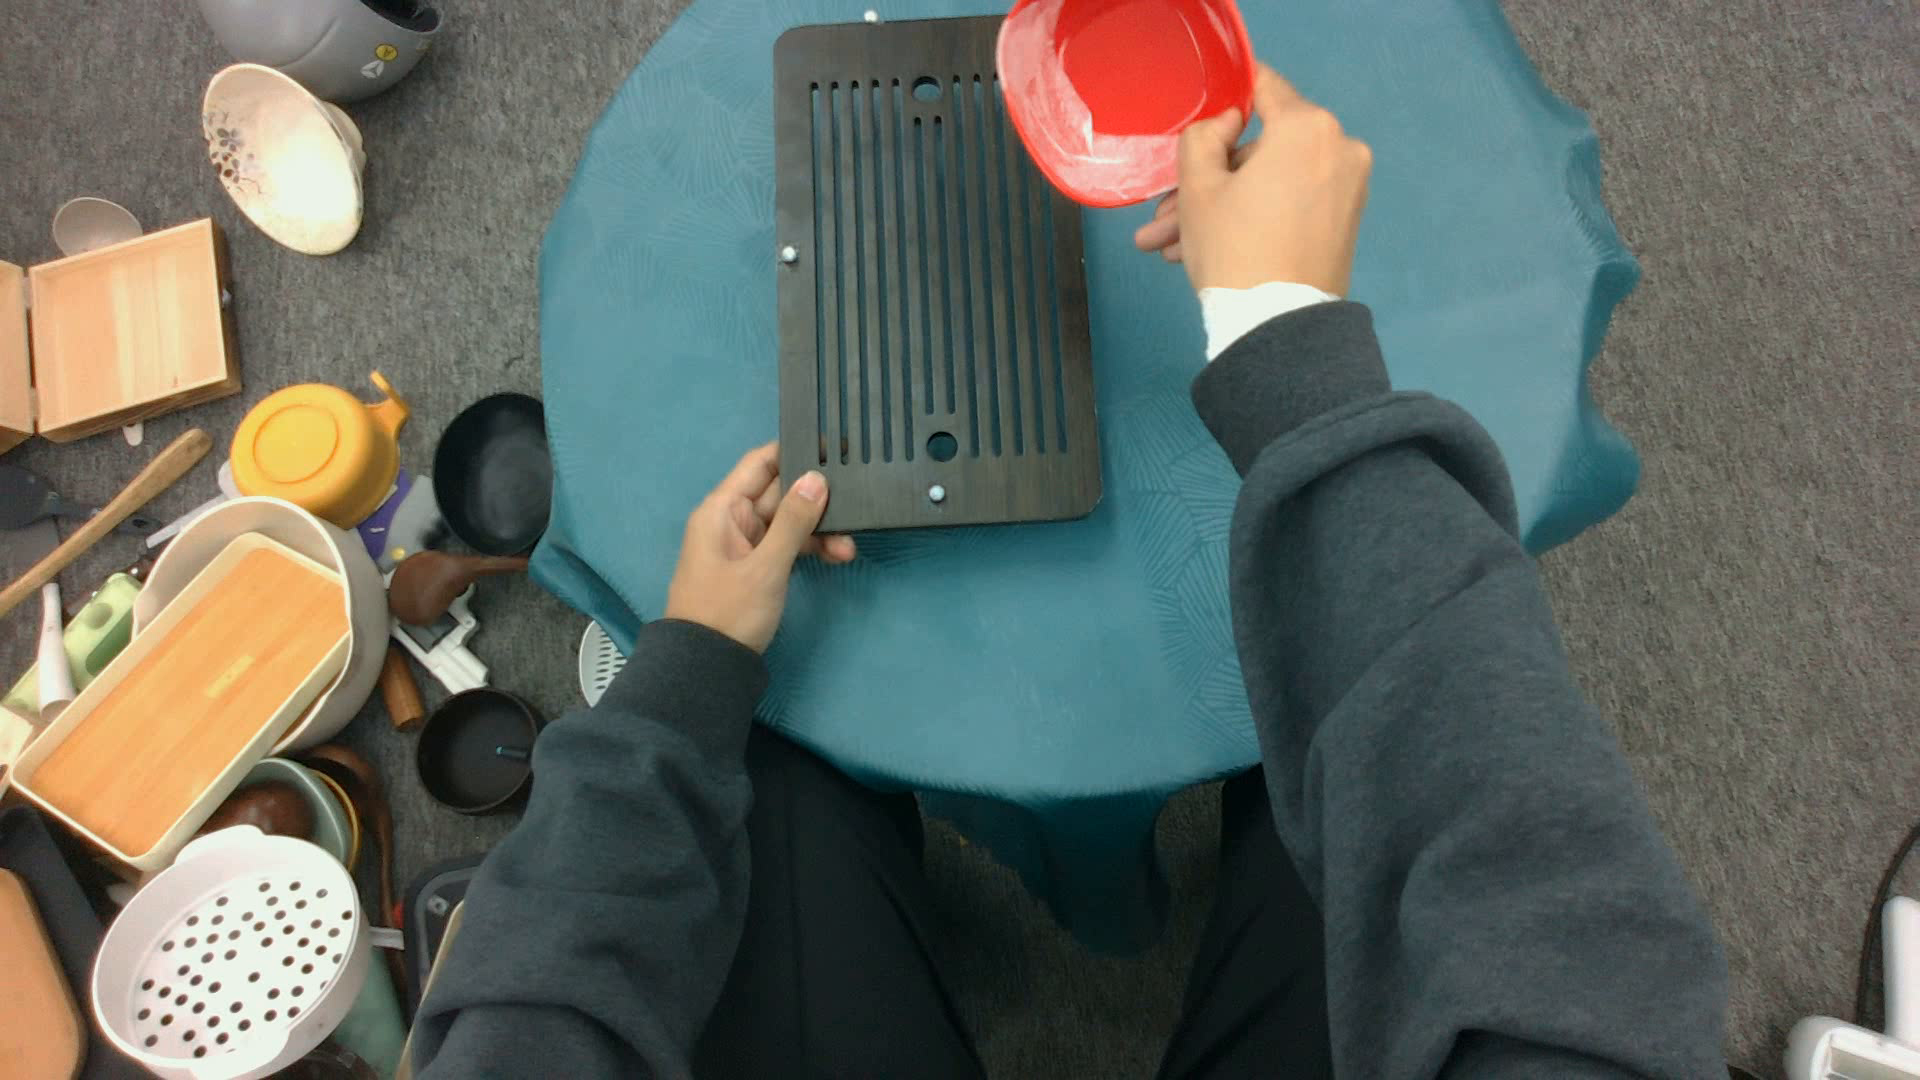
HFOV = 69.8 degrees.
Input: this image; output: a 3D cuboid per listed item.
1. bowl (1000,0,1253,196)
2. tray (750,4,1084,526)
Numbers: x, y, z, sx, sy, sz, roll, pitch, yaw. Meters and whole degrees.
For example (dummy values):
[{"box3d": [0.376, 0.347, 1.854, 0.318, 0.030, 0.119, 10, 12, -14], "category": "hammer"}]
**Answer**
[{"box3d": [0.078, -0.220, 0.651, 0.119, 0.051, 0.118, 1, 100, 4], "category": "bowl"}, {"box3d": [-0.028, -0.158, 0.760, 0.170, 0.018, 0.306, -3, 74, 0], "category": "tray"}]
